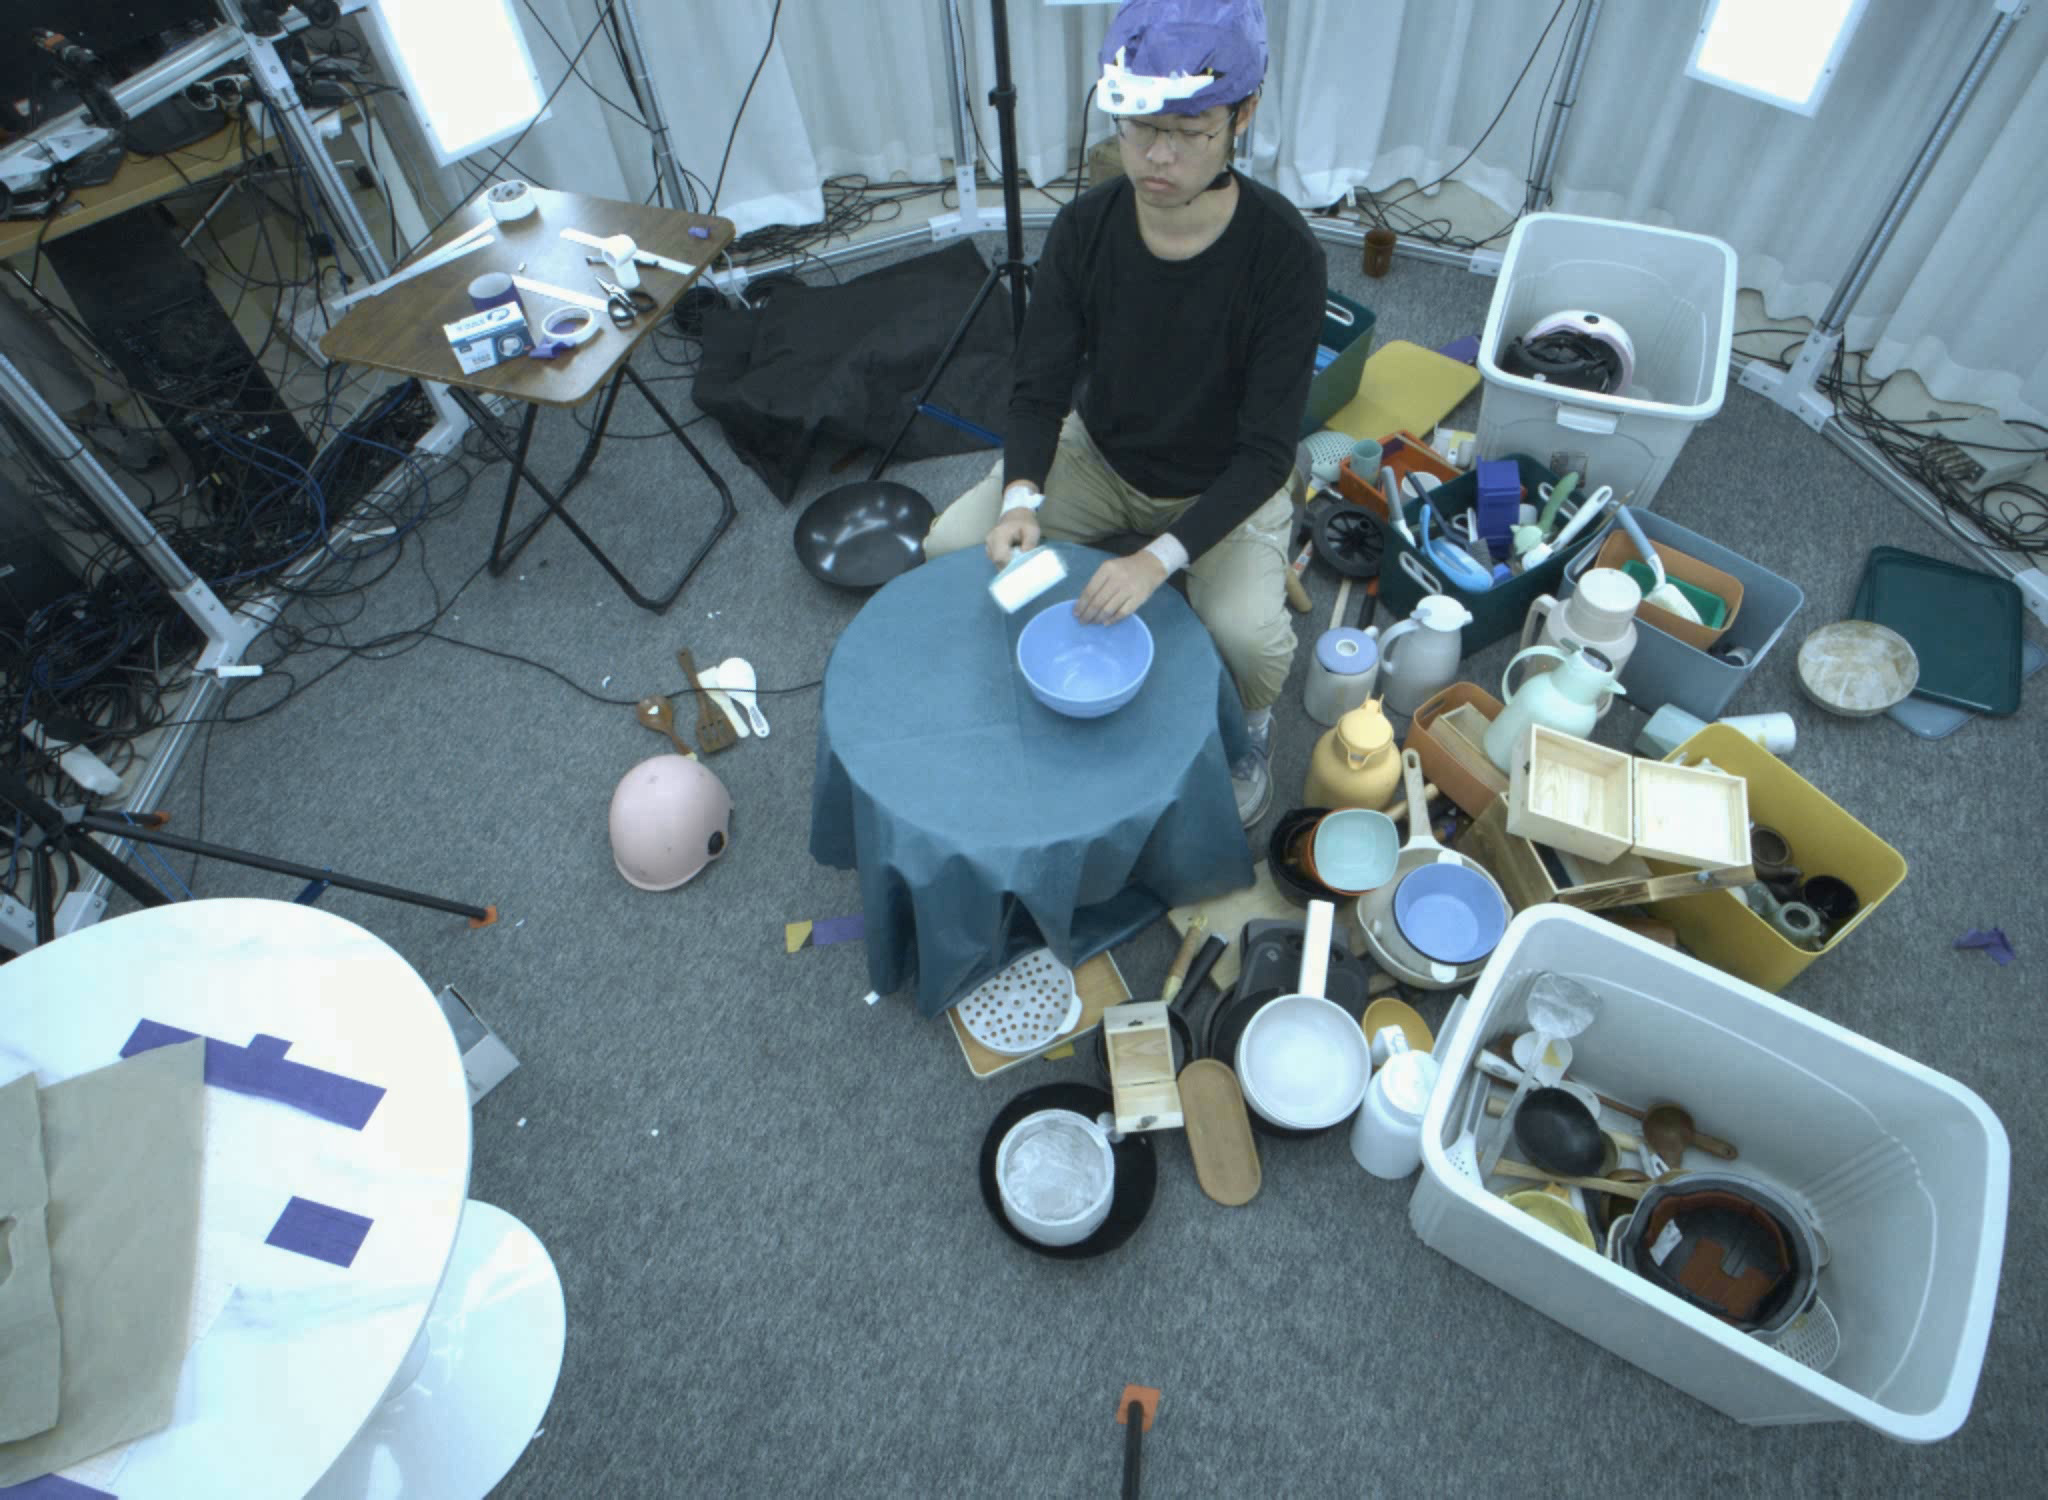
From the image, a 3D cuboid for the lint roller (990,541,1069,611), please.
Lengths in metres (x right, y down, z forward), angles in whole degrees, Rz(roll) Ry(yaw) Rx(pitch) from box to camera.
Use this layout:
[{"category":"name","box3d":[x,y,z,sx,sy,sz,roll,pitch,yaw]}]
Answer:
[{"category":"lint roller","box3d":[-0.002,-0.281,1.841,0.116,0.049,0.194,-35,28,9]}]

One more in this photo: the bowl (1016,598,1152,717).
[{"category":"bowl","box3d":[0.090,-0.121,1.811,0.196,0.096,0.194,-1,55,3]}]
